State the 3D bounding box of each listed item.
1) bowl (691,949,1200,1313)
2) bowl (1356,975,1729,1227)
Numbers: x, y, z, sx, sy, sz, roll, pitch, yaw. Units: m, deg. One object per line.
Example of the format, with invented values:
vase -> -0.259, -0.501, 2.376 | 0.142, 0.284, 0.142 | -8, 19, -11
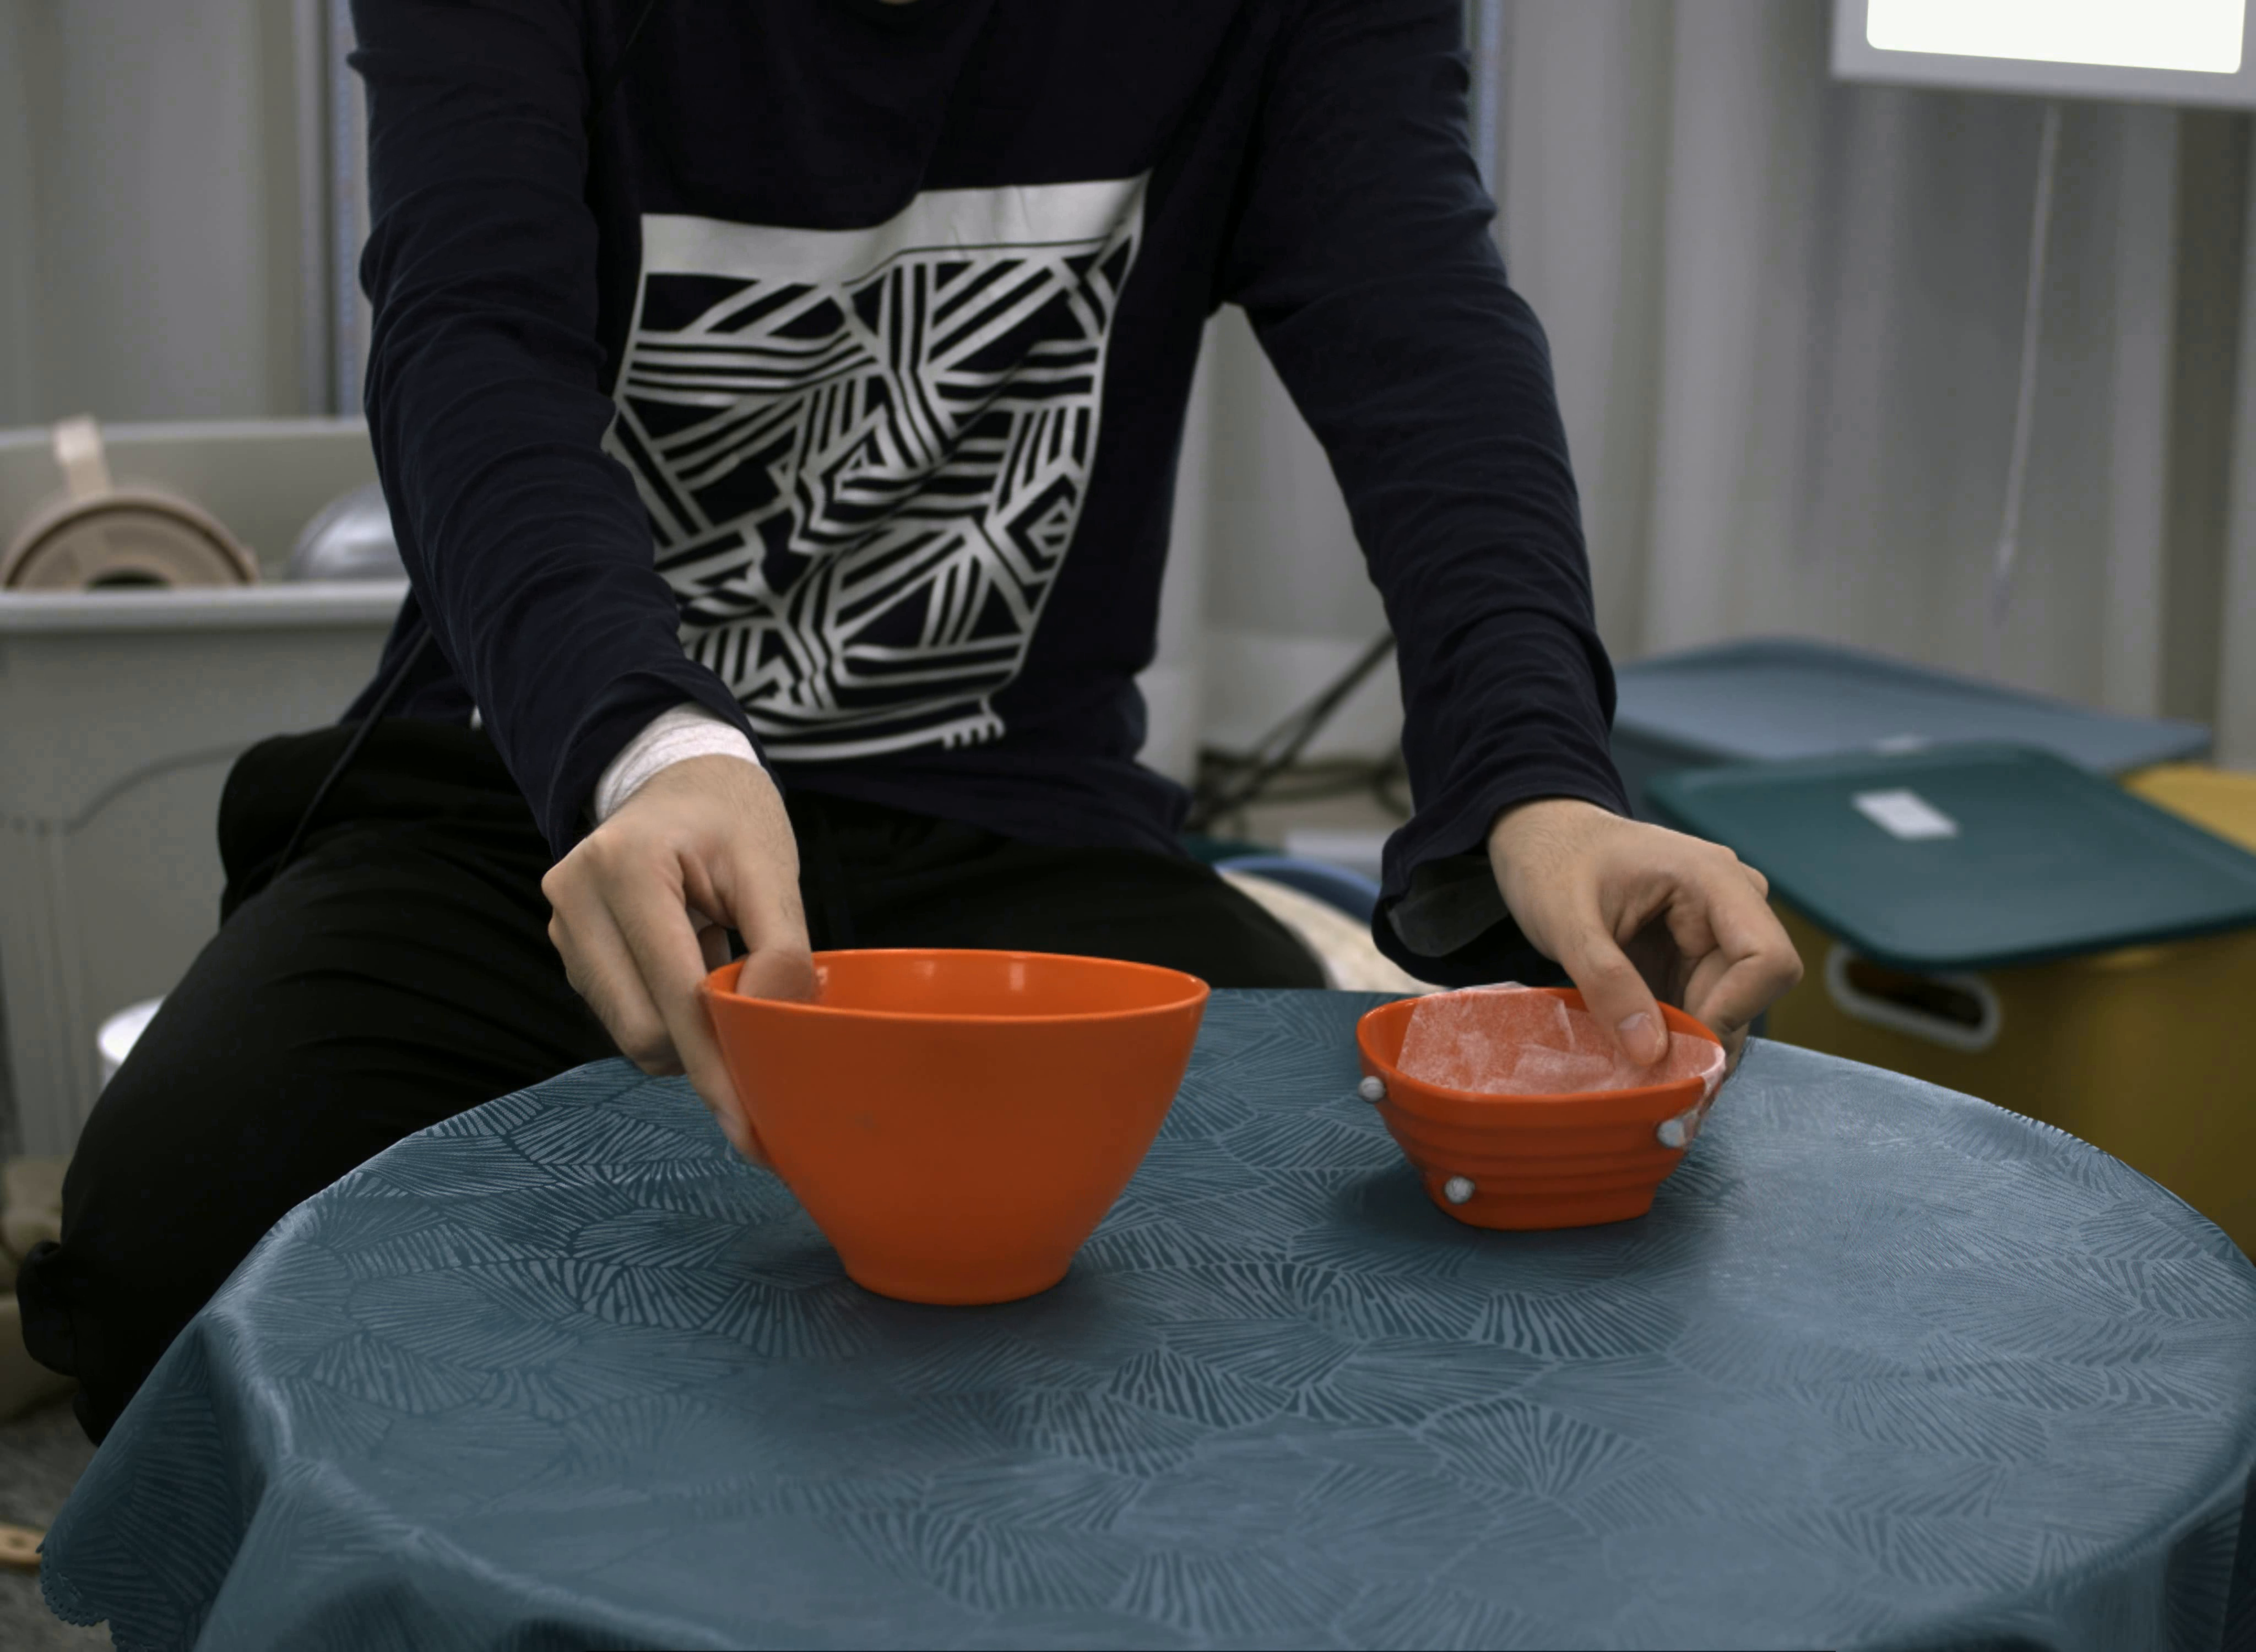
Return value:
bowl -> -0.052, 0.086, 1.531 | 0.147, 0.105, 0.147 | 0, 16, 0
bowl -> 0.126, 0.087, 1.619 | 0.118, 0.052, 0.118 | 1, 18, 0
